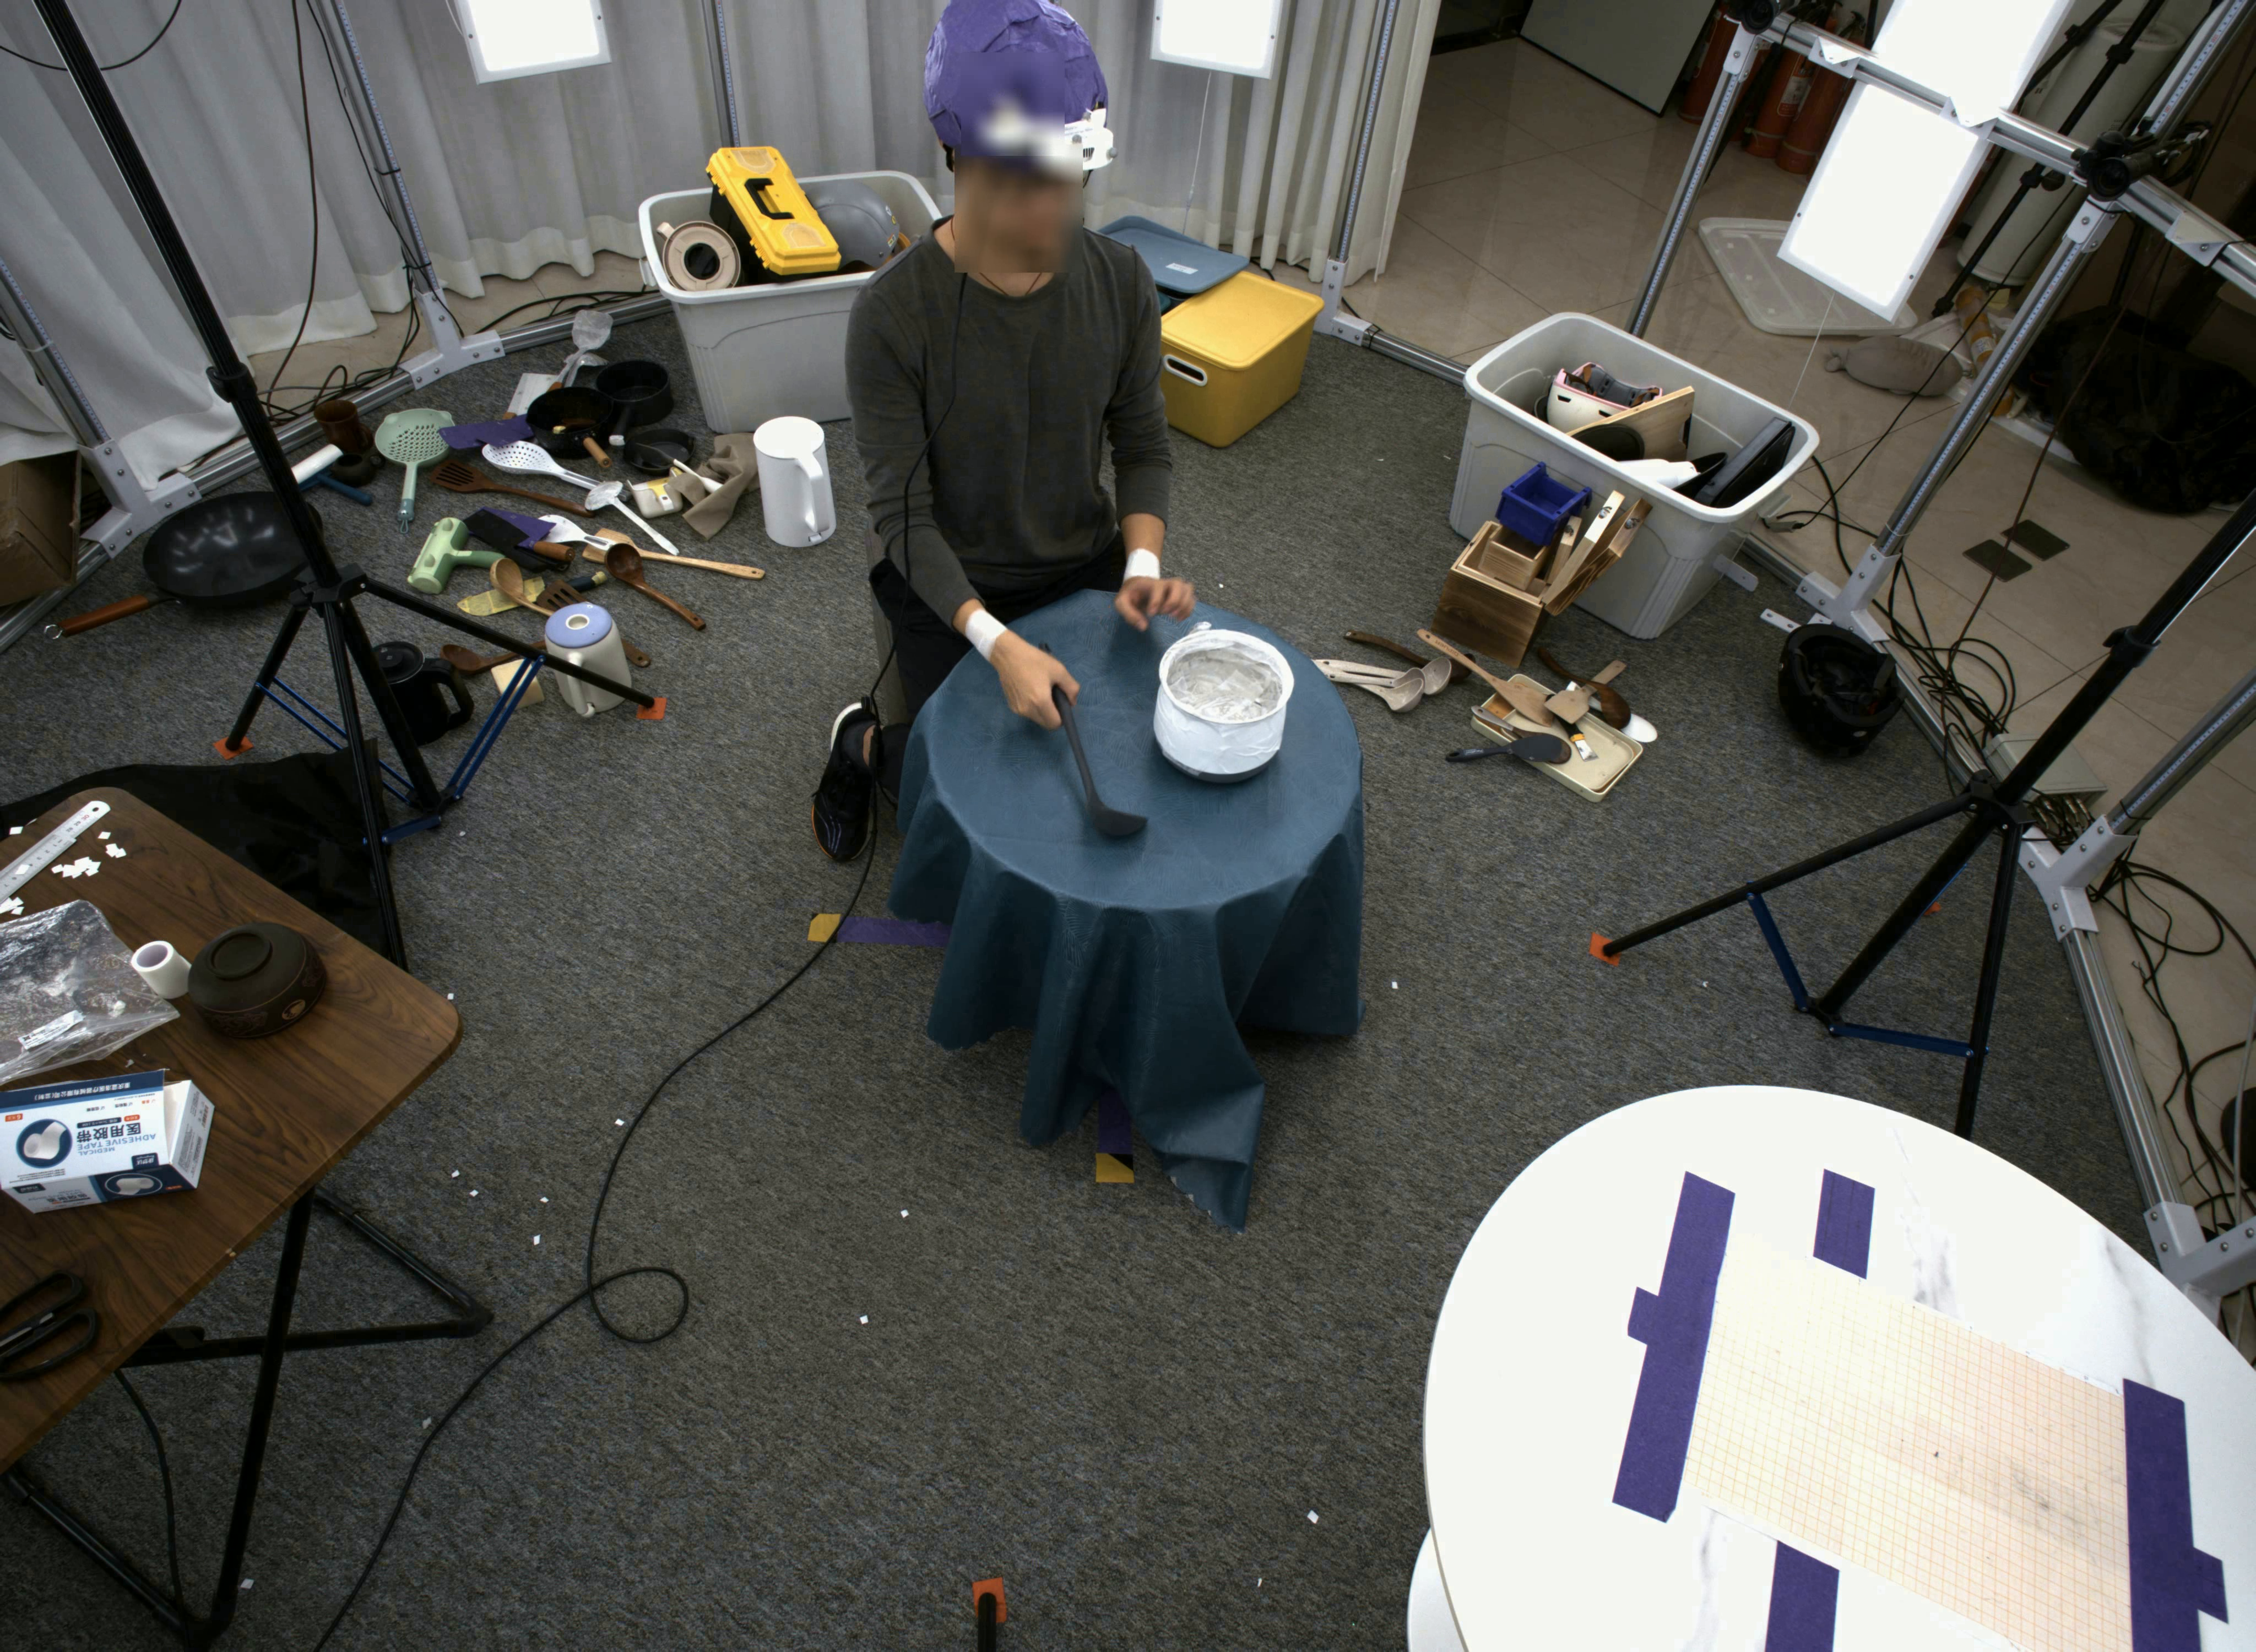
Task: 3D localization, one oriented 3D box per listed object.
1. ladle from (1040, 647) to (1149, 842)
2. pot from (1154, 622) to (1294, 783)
[{"bbox_3d":[-0.053,-0.119,1.690,0.063,0.085,0.320,-31,61,25],"label":"ladle"},{"bbox_3d":[0.117,-0.177,1.741,0.178,0.133,0.239,-10,50,-12],"label":"pot"}]
